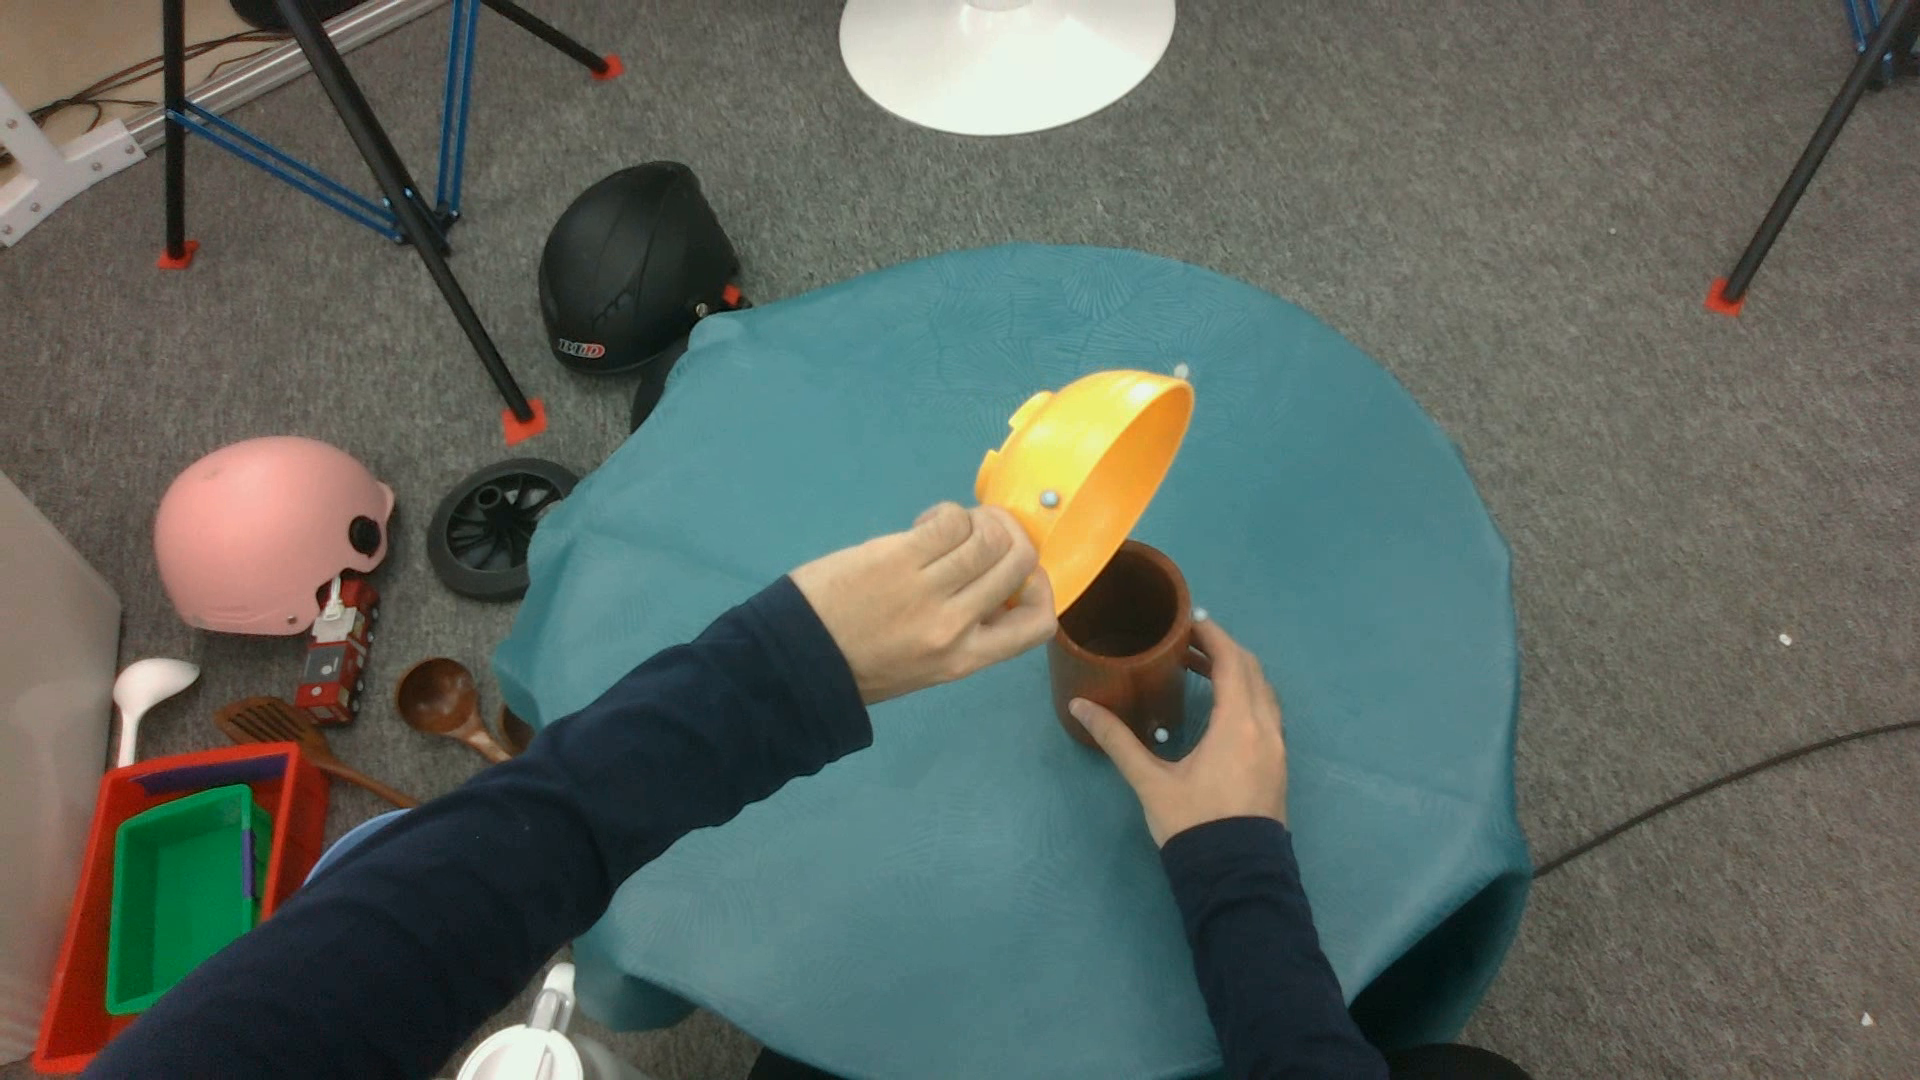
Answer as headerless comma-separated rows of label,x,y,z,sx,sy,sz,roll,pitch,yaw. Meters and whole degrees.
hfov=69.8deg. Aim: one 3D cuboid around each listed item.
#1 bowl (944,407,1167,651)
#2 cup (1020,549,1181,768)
bowl,0.036,-0.017,0.692,0.060,0.145,0.146,41,69,14
cup,0.085,0.070,0.783,0.087,0.118,0.088,-5,56,8
